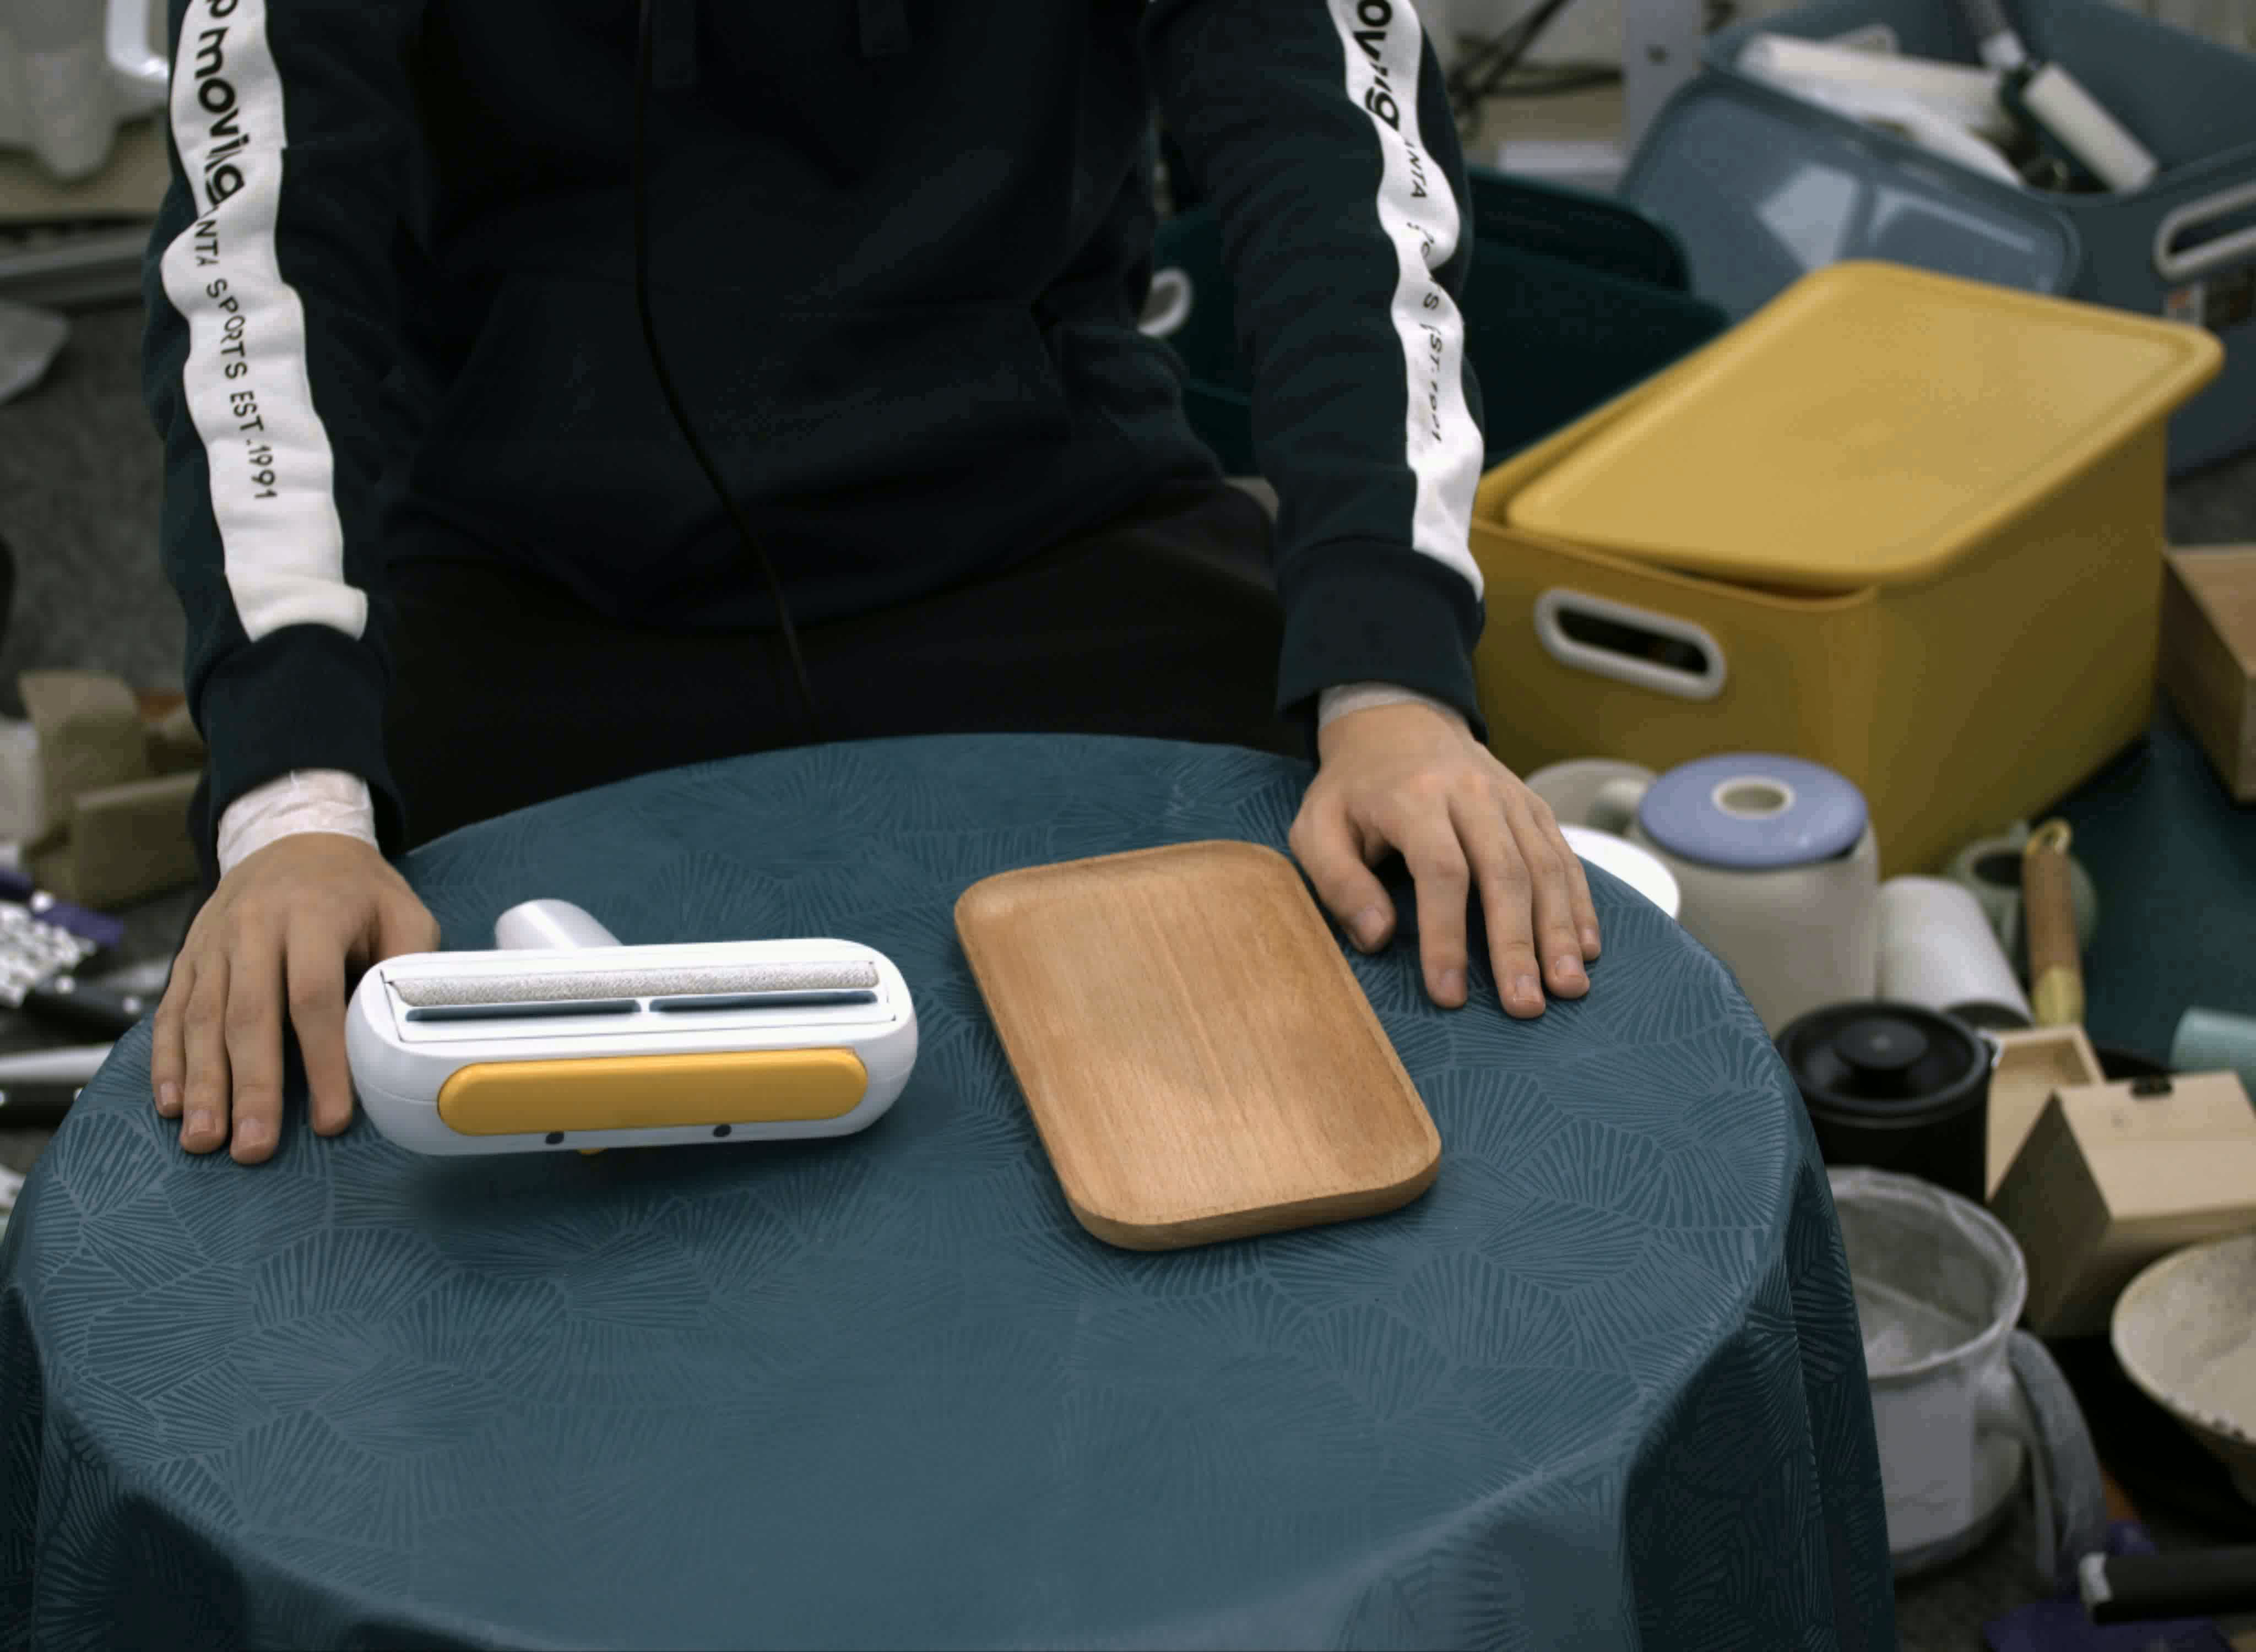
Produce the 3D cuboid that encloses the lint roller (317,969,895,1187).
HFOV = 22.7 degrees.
[{"bbox_3d":[-0.186,0.075,1.935,0.192,0.074,0.193,-2,12,-13],"label":"lint roller"}]

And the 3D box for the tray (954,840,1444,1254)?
[{"bbox_3d":[0.021,0.073,1.934,0.130,0.022,0.253,-6,27,-10],"label":"tray"}]
